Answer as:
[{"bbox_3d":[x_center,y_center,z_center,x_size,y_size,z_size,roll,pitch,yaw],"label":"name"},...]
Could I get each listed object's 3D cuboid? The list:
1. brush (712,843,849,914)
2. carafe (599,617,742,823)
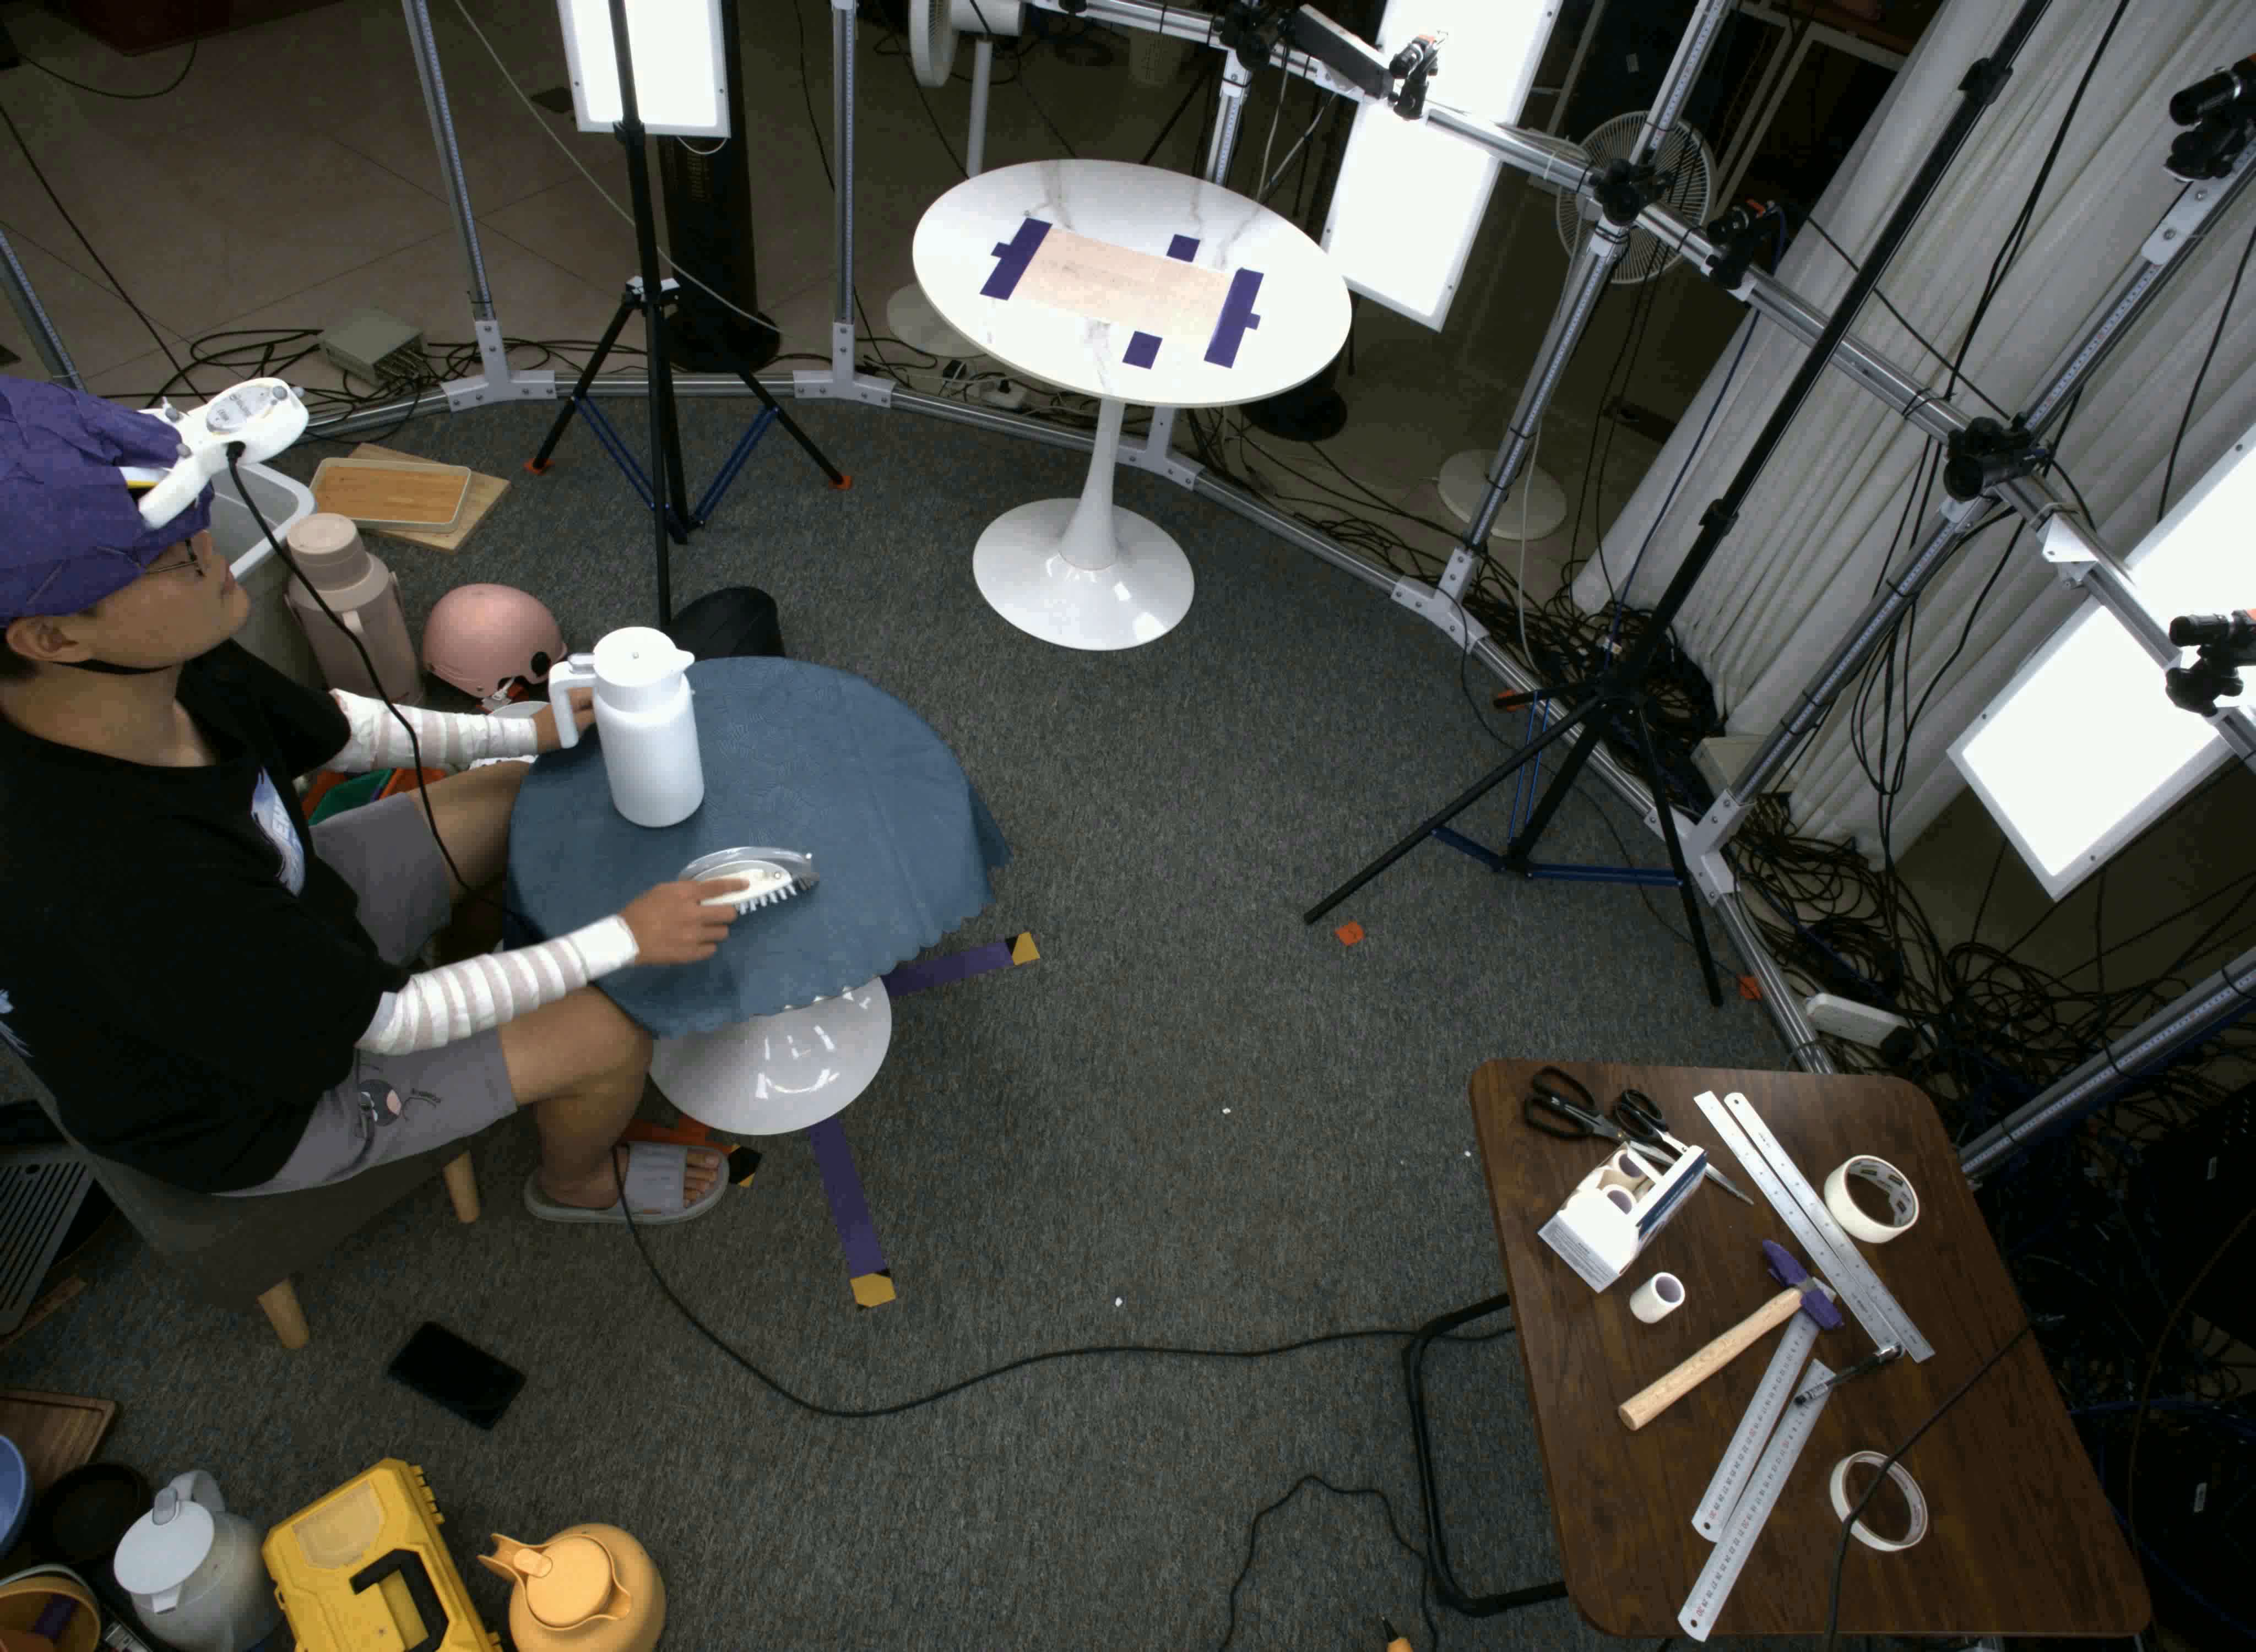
[{"bbox_3d":[-0.438,0.052,1.633,0.176,0.096,0.060,-10,57,-22],"label":"brush"},{"bbox_3d":[-0.575,-0.129,1.620,0.173,0.274,0.121,-7,56,-16],"label":"carafe"}]
